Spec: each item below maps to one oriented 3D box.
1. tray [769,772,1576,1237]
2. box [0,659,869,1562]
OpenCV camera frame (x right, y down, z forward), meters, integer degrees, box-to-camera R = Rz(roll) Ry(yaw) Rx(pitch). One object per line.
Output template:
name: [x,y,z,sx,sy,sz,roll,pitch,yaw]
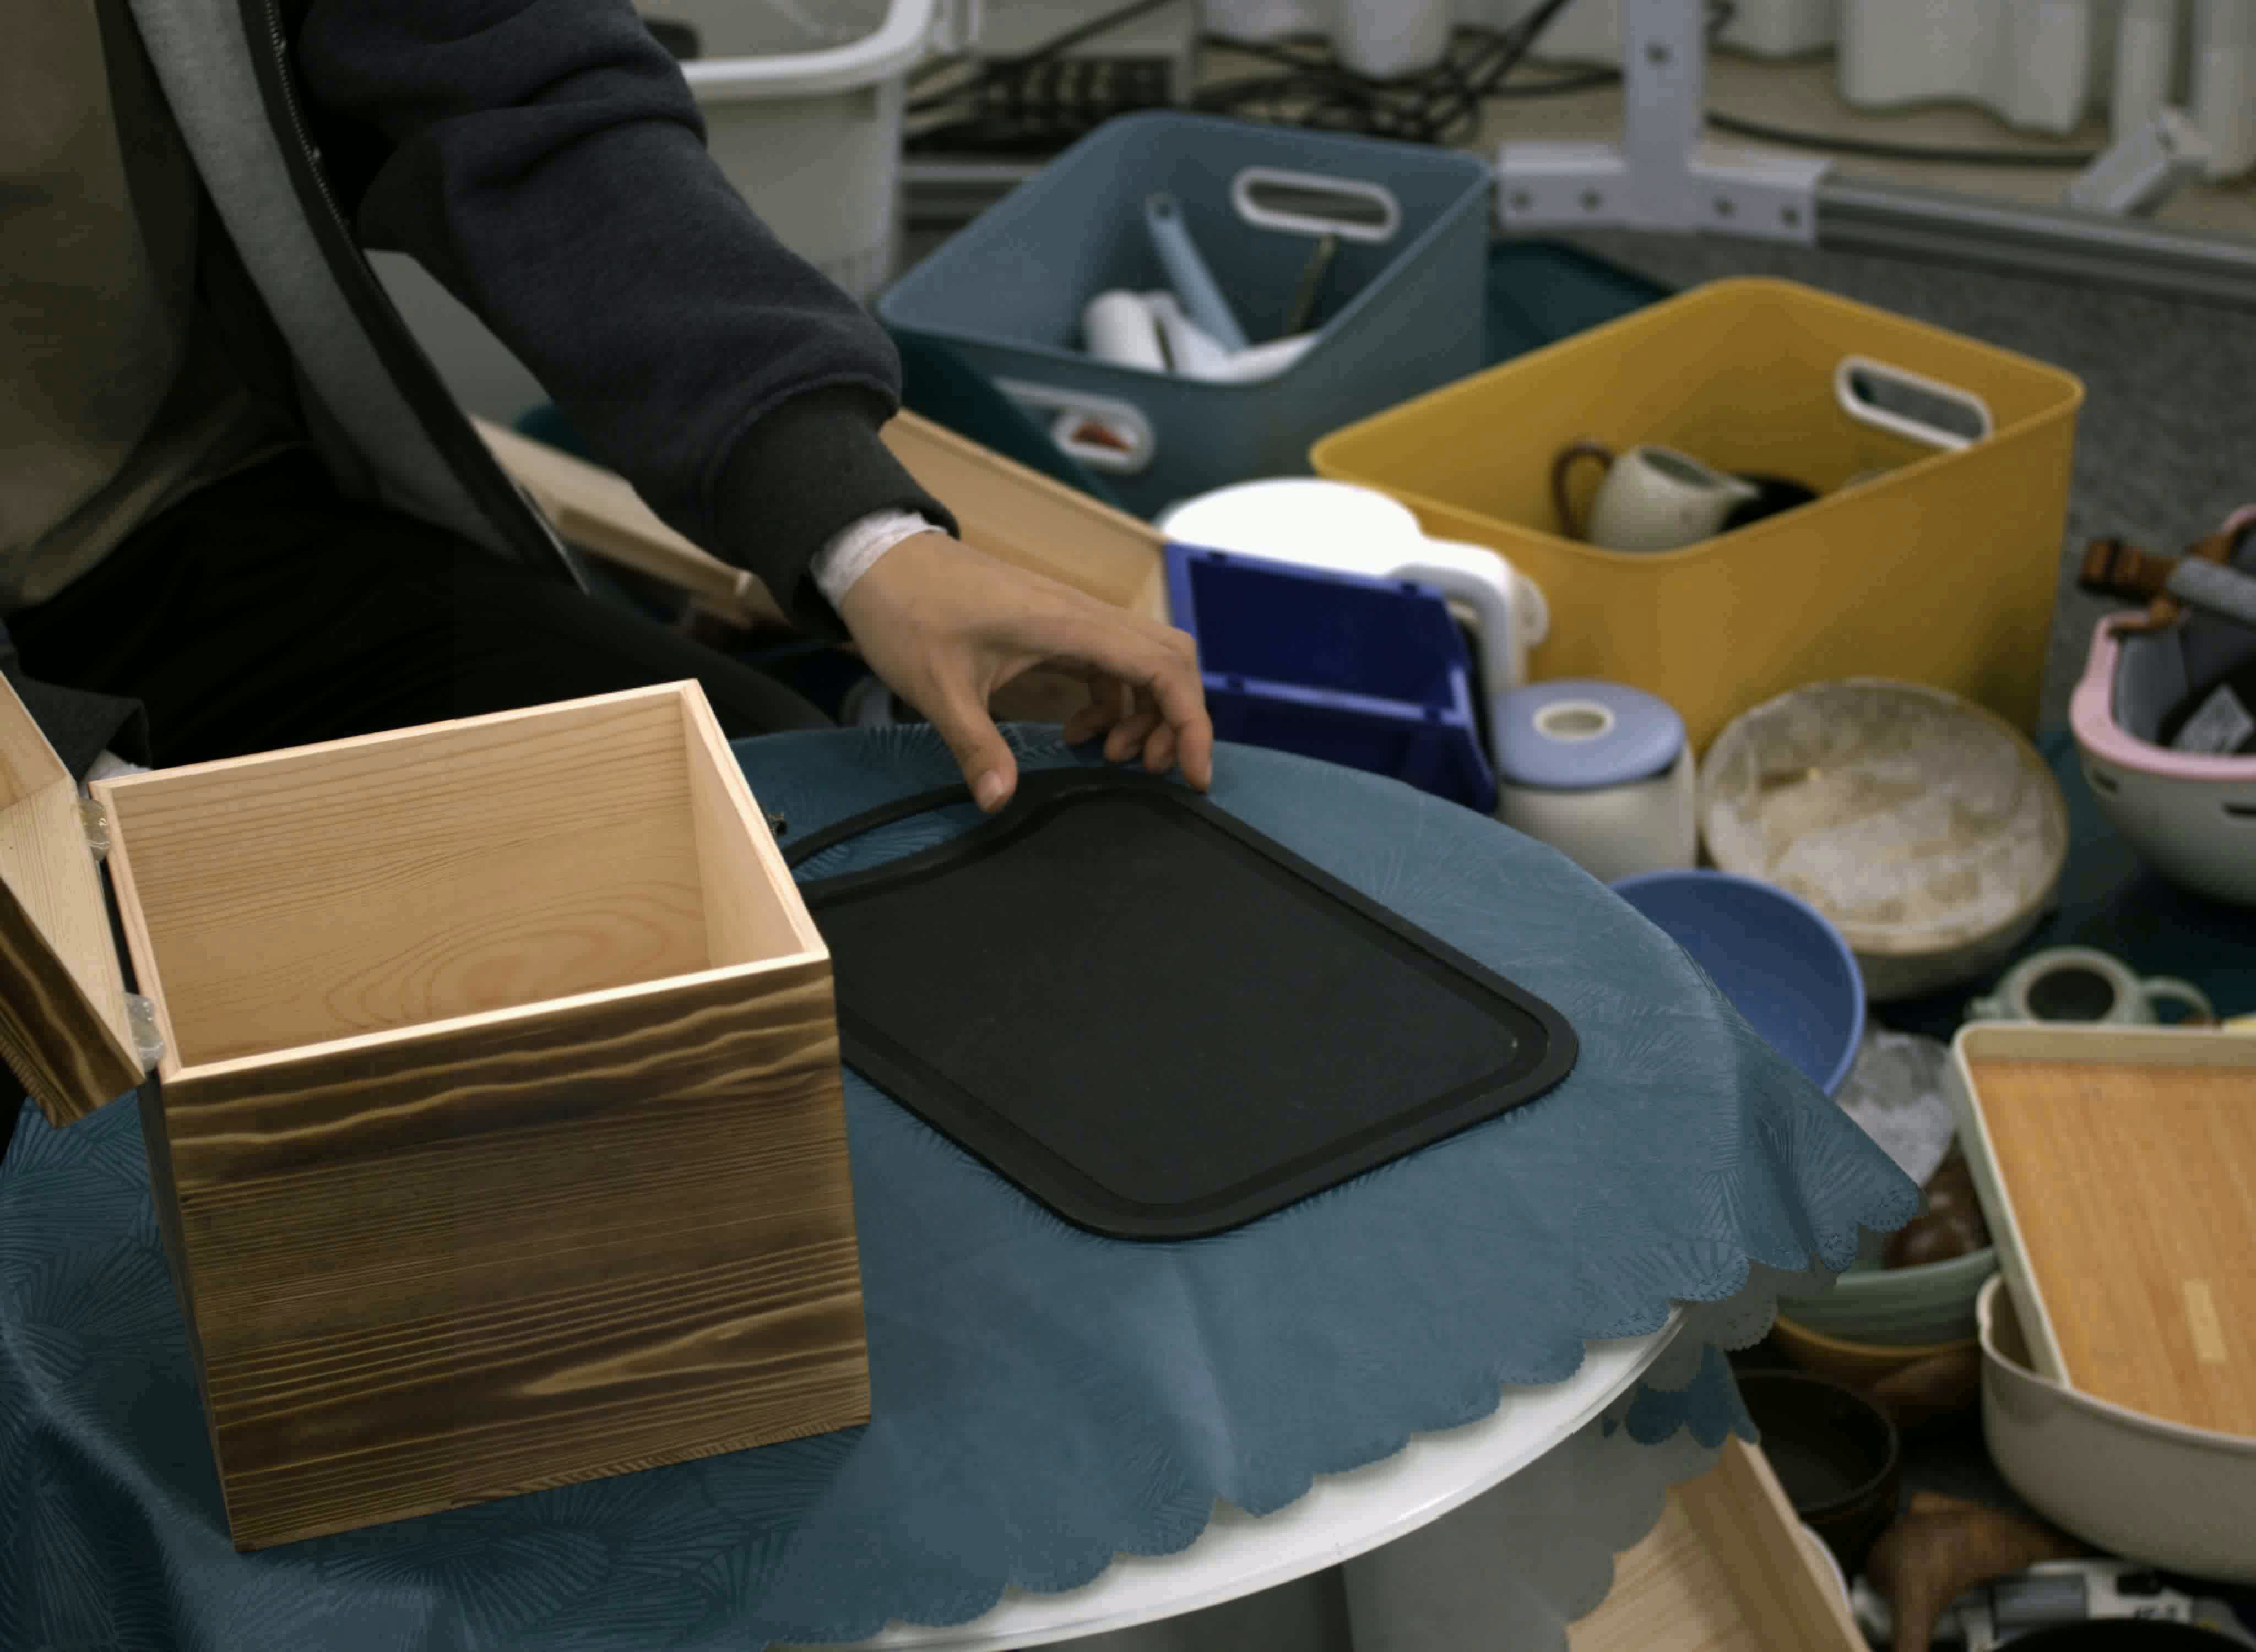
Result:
tray: [-0.007,0.054,1.986,0.213,0.009,0.326,-20,32,-30]
box: [-0.260,0.013,1.715,0.322,0.371,0.211,-11,28,-13]
